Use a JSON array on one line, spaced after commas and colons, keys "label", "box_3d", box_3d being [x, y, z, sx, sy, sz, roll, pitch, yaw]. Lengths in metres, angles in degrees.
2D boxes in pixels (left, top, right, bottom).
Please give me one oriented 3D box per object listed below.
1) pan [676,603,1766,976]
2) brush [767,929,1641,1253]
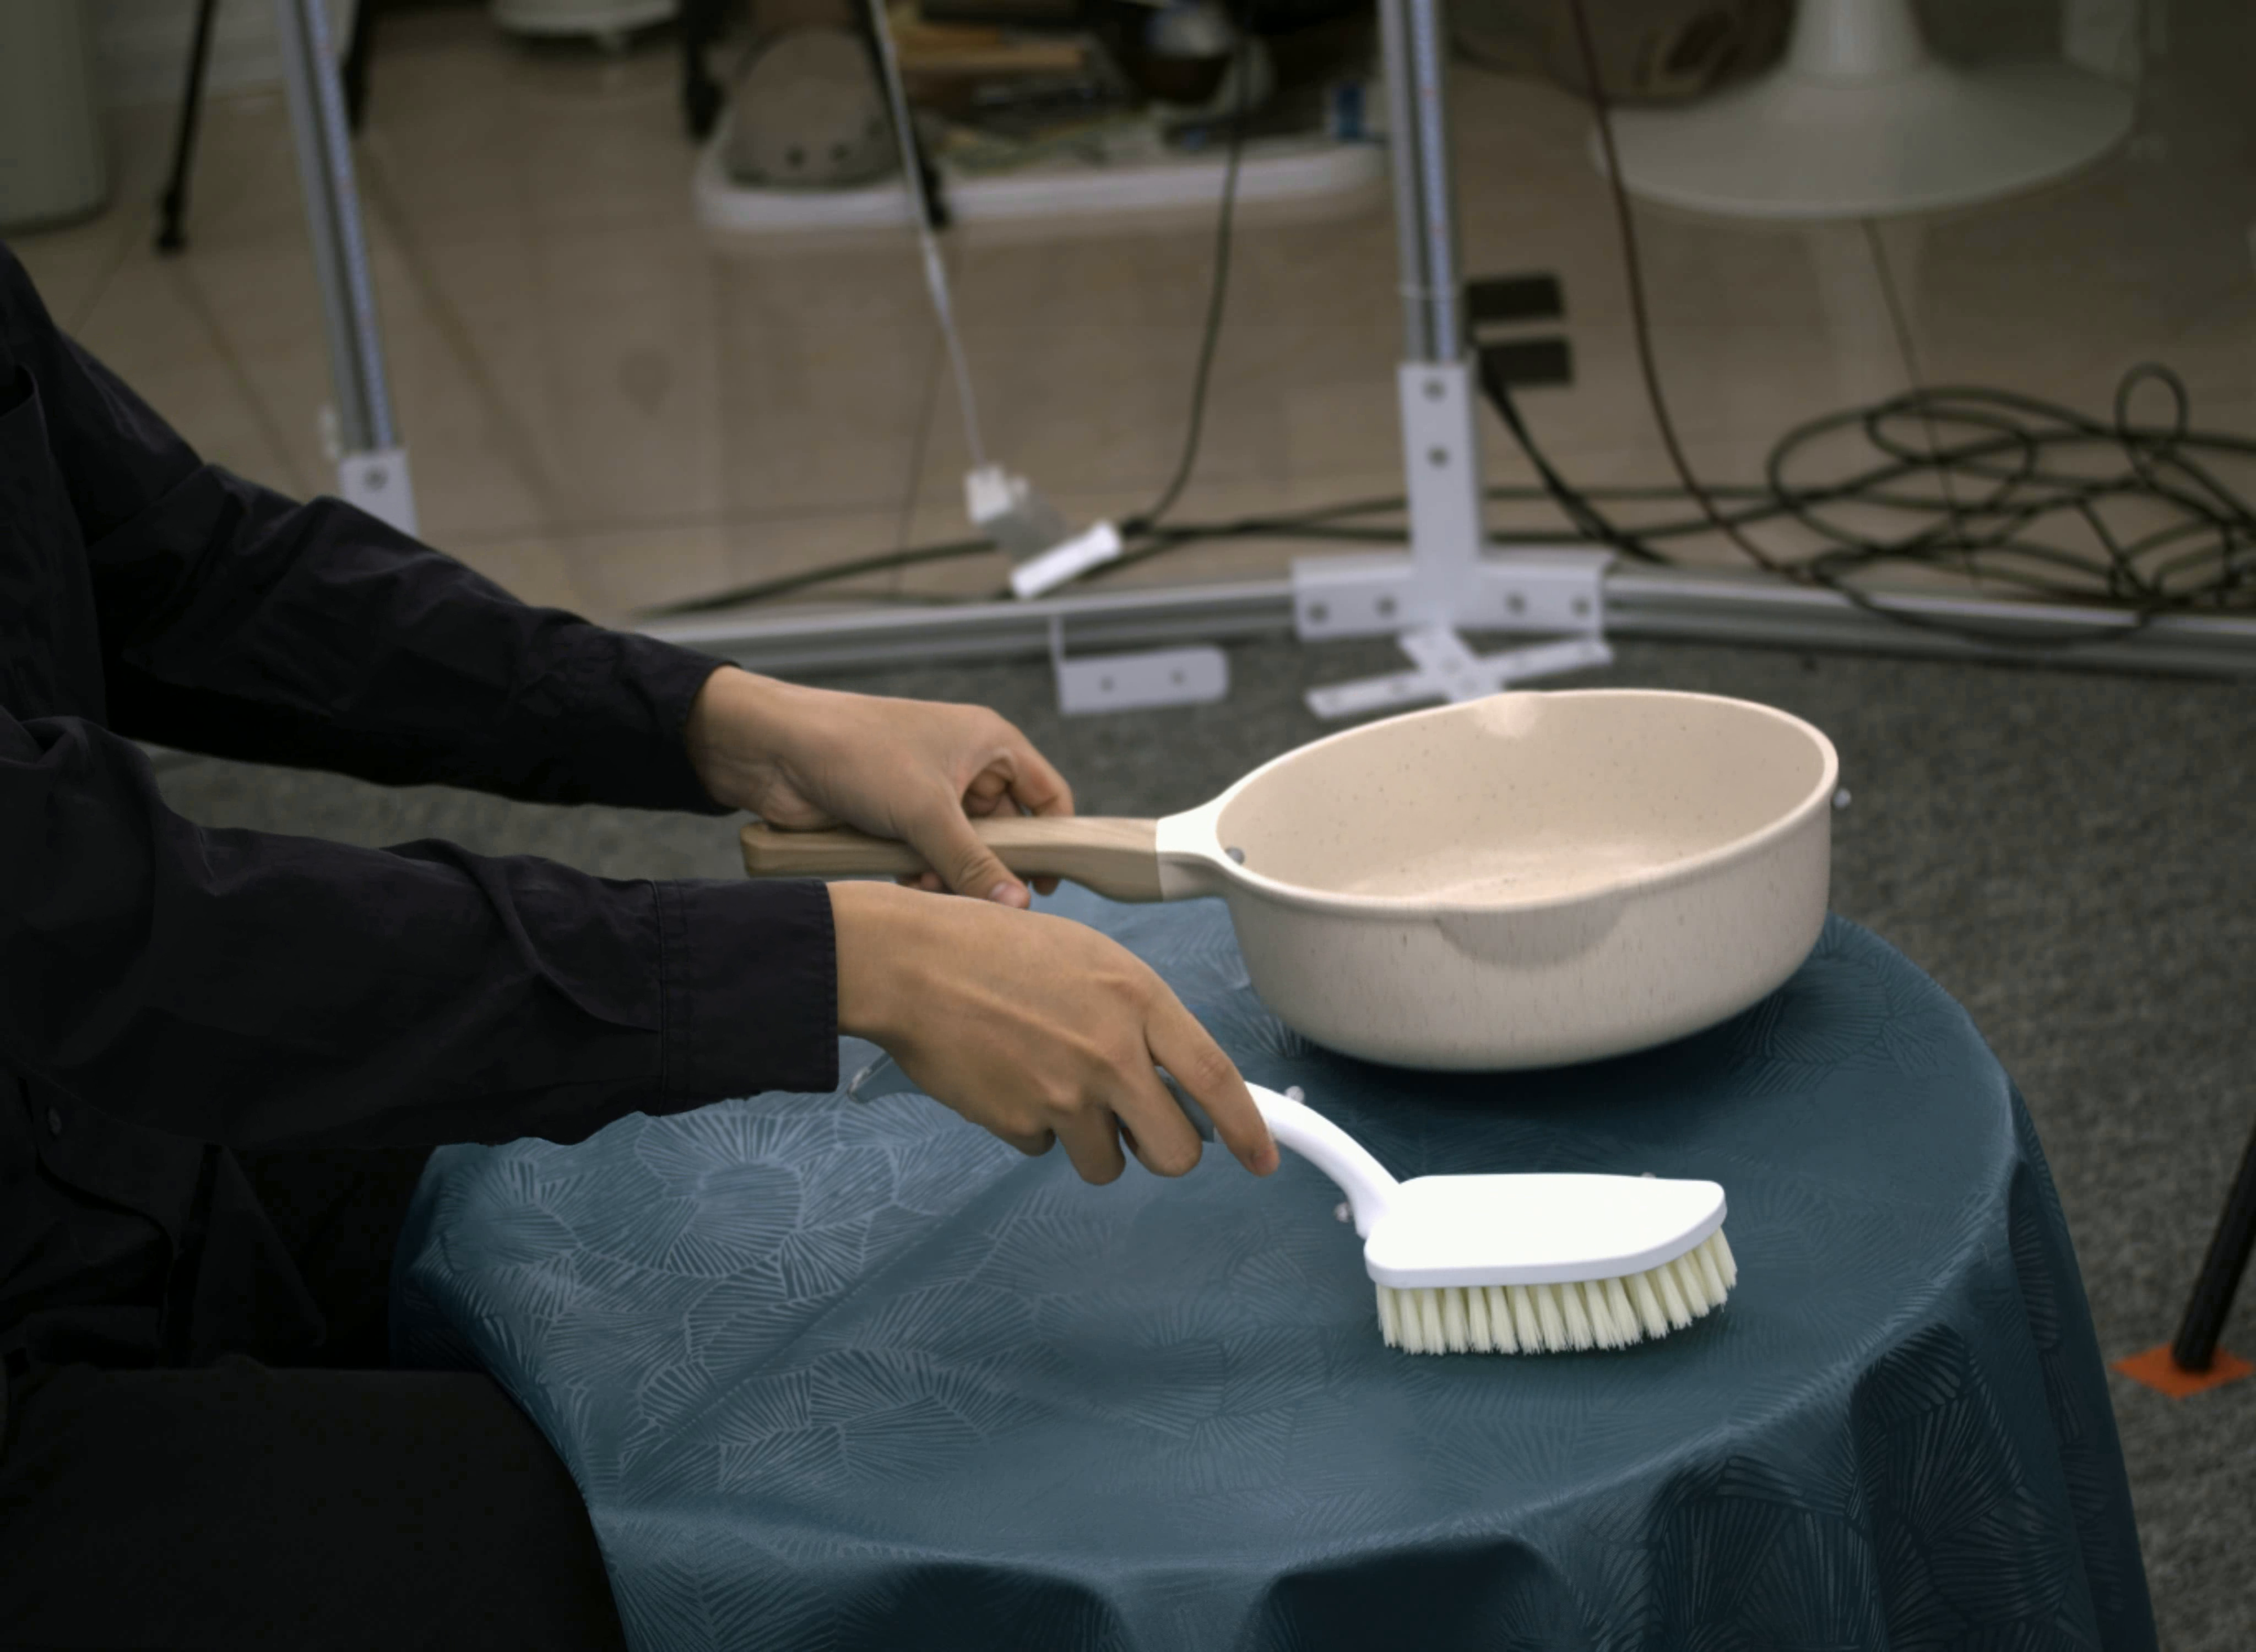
[{"label": "pan", "box_3d": [0.041, -0.007, 2.264, 0.434, 0.103, 0.260, -7, 19, 4]}, {"label": "brush", "box_3d": [0.025, 0.105, 2.067, 0.324, 0.084, 0.083, 9, -8, 10]}]
